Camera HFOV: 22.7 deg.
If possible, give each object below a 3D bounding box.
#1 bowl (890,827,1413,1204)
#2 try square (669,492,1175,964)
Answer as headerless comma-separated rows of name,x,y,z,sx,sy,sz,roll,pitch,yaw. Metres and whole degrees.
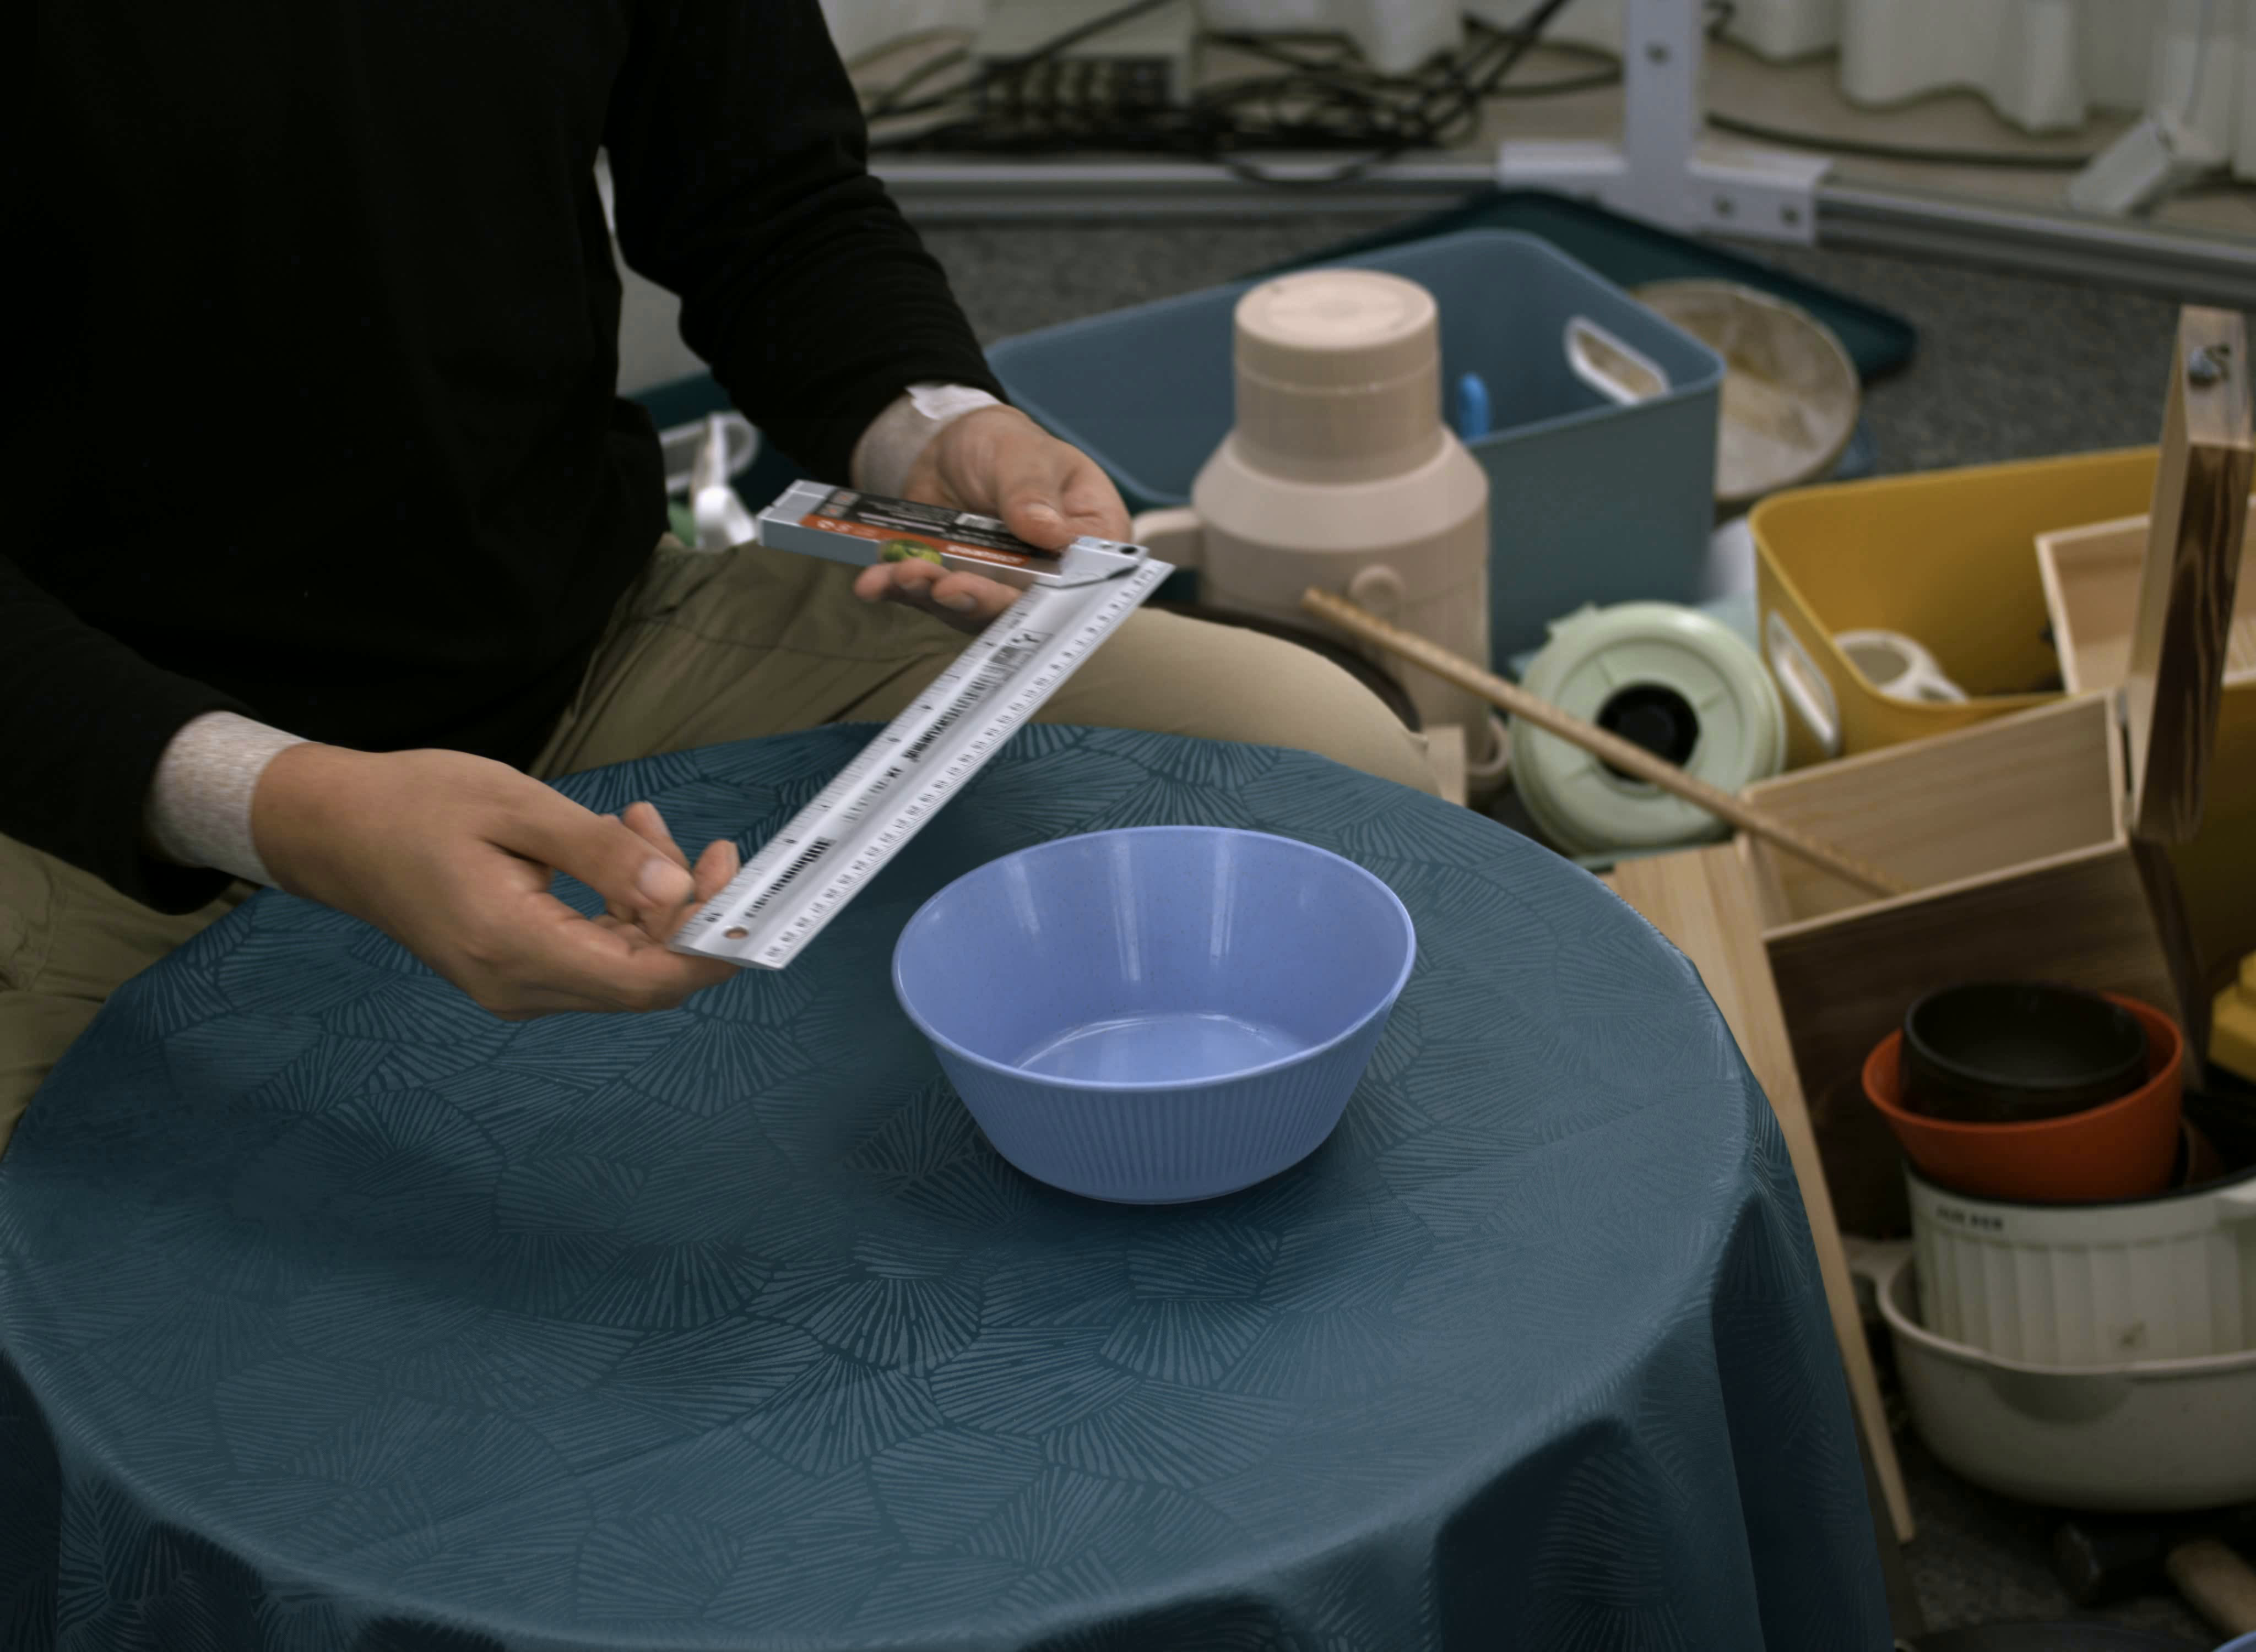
bowl,0.009,0.070,1.886,0.175,0.069,0.179,-2,28,2
try square,-0.113,-0.038,1.908,0.151,0.016,0.318,10,30,22
